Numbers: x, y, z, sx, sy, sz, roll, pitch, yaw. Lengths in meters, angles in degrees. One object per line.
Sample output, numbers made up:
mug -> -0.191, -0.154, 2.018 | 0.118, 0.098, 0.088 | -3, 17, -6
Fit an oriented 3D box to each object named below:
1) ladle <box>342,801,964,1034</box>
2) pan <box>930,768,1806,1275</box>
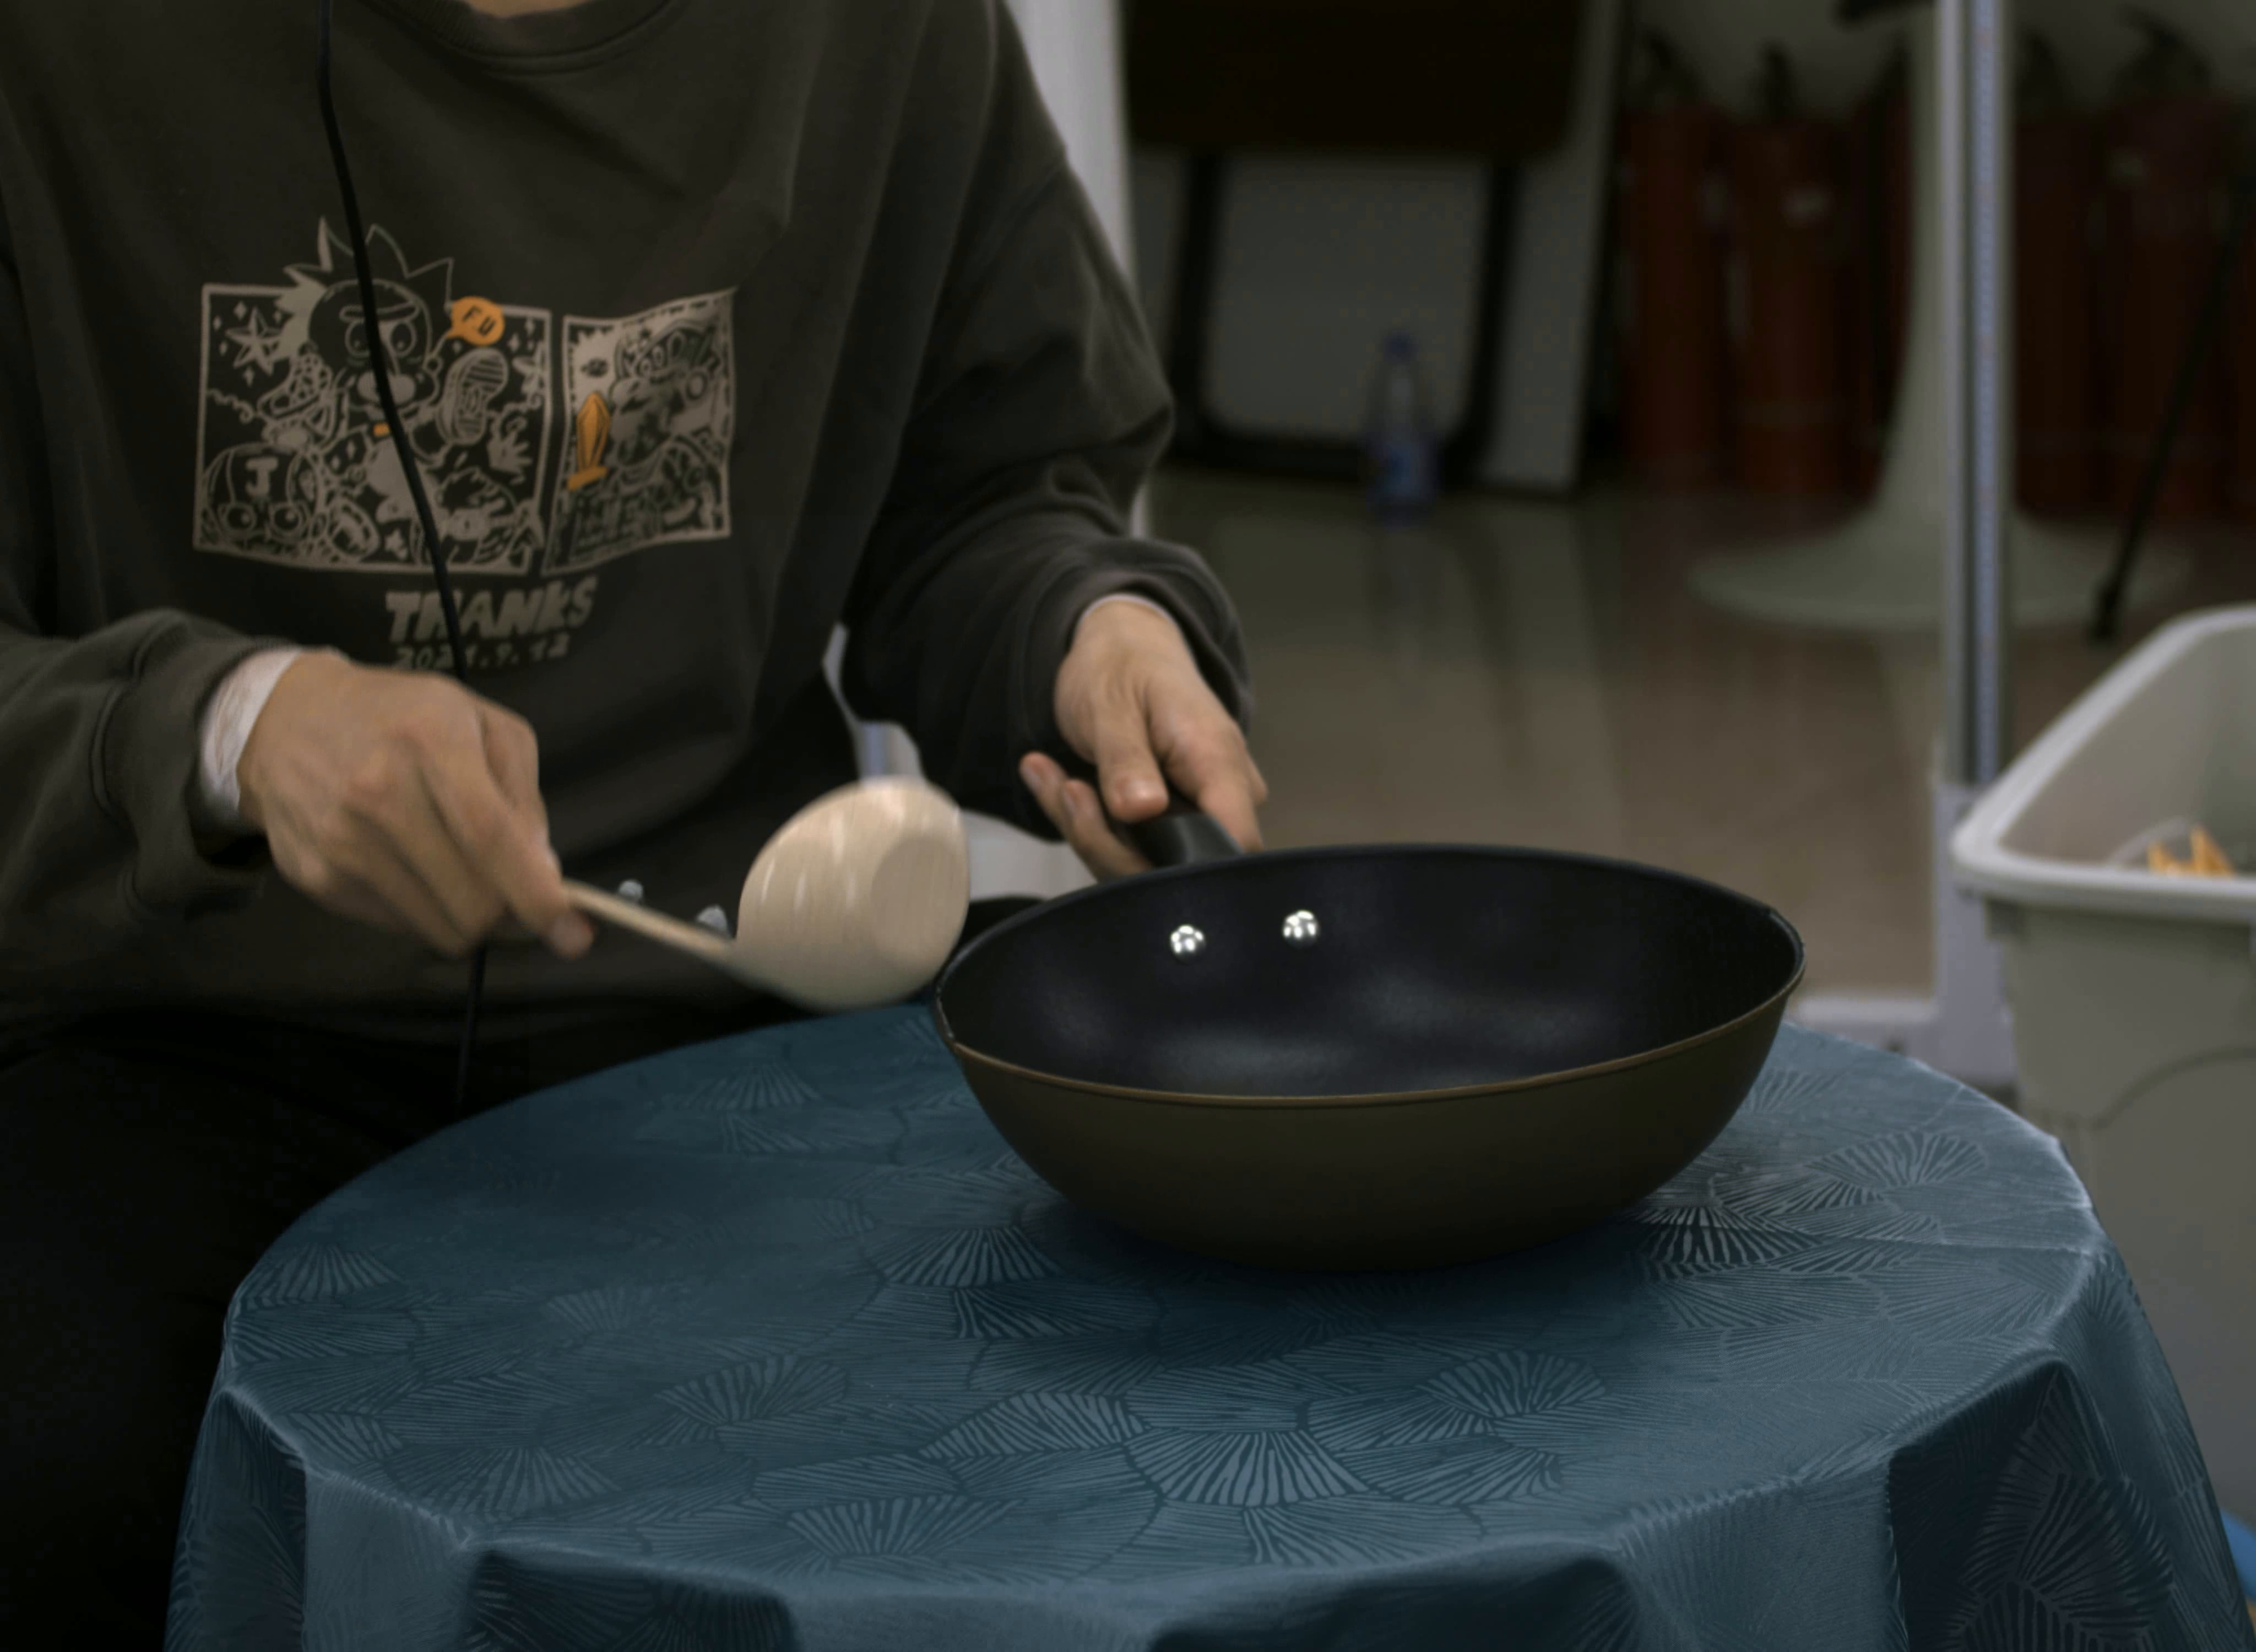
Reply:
ladle -> -0.150, 0.008, 1.666 | 0.257, 0.073, 0.071 | 15, -12, 45
pan -> 0.052, 0.063, 1.819 | 0.282, 0.088, 0.467 | -8, 14, -15
